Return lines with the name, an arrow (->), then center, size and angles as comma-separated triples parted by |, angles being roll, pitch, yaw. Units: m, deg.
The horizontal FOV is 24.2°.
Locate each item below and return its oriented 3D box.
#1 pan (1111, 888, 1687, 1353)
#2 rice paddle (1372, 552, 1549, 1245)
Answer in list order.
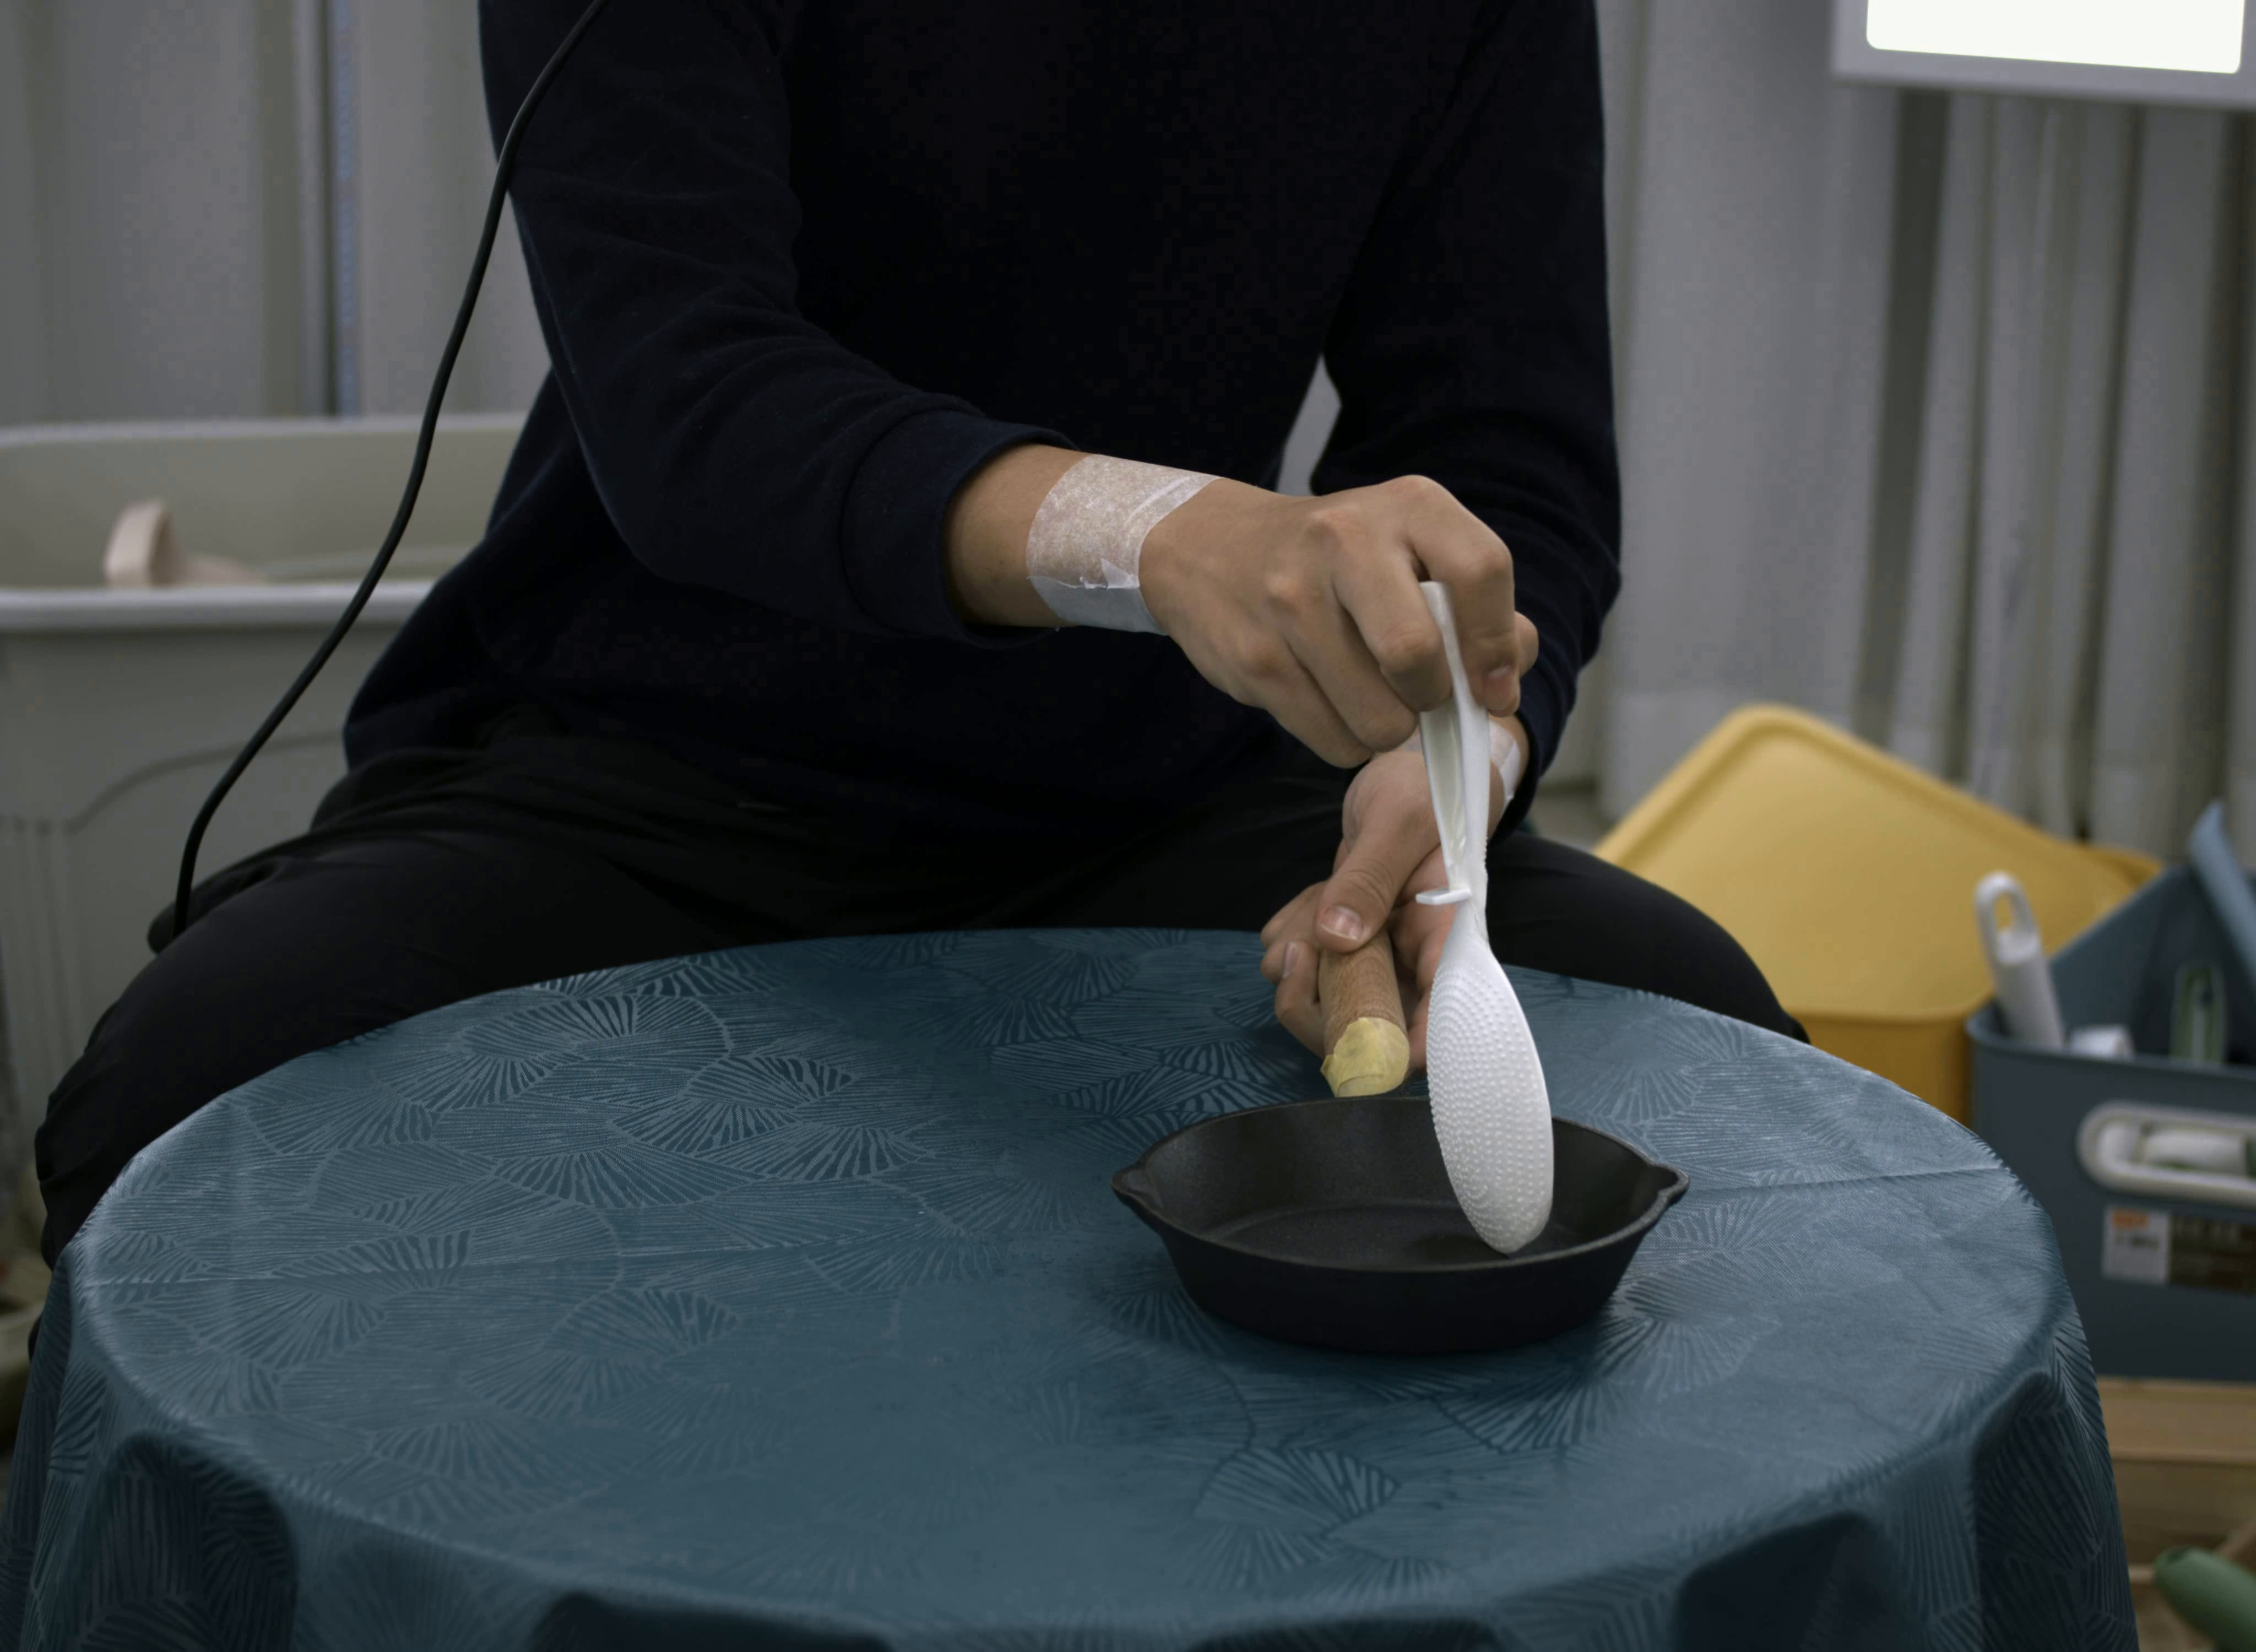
pan -> 0.080, 0.087, 1.621 | 0.168, 0.050, 0.322 | 0, 17, 0
rice paddle -> 0.100, 0.023, 1.549 | 0.029, 0.206, 0.068 | -12, 11, -24
